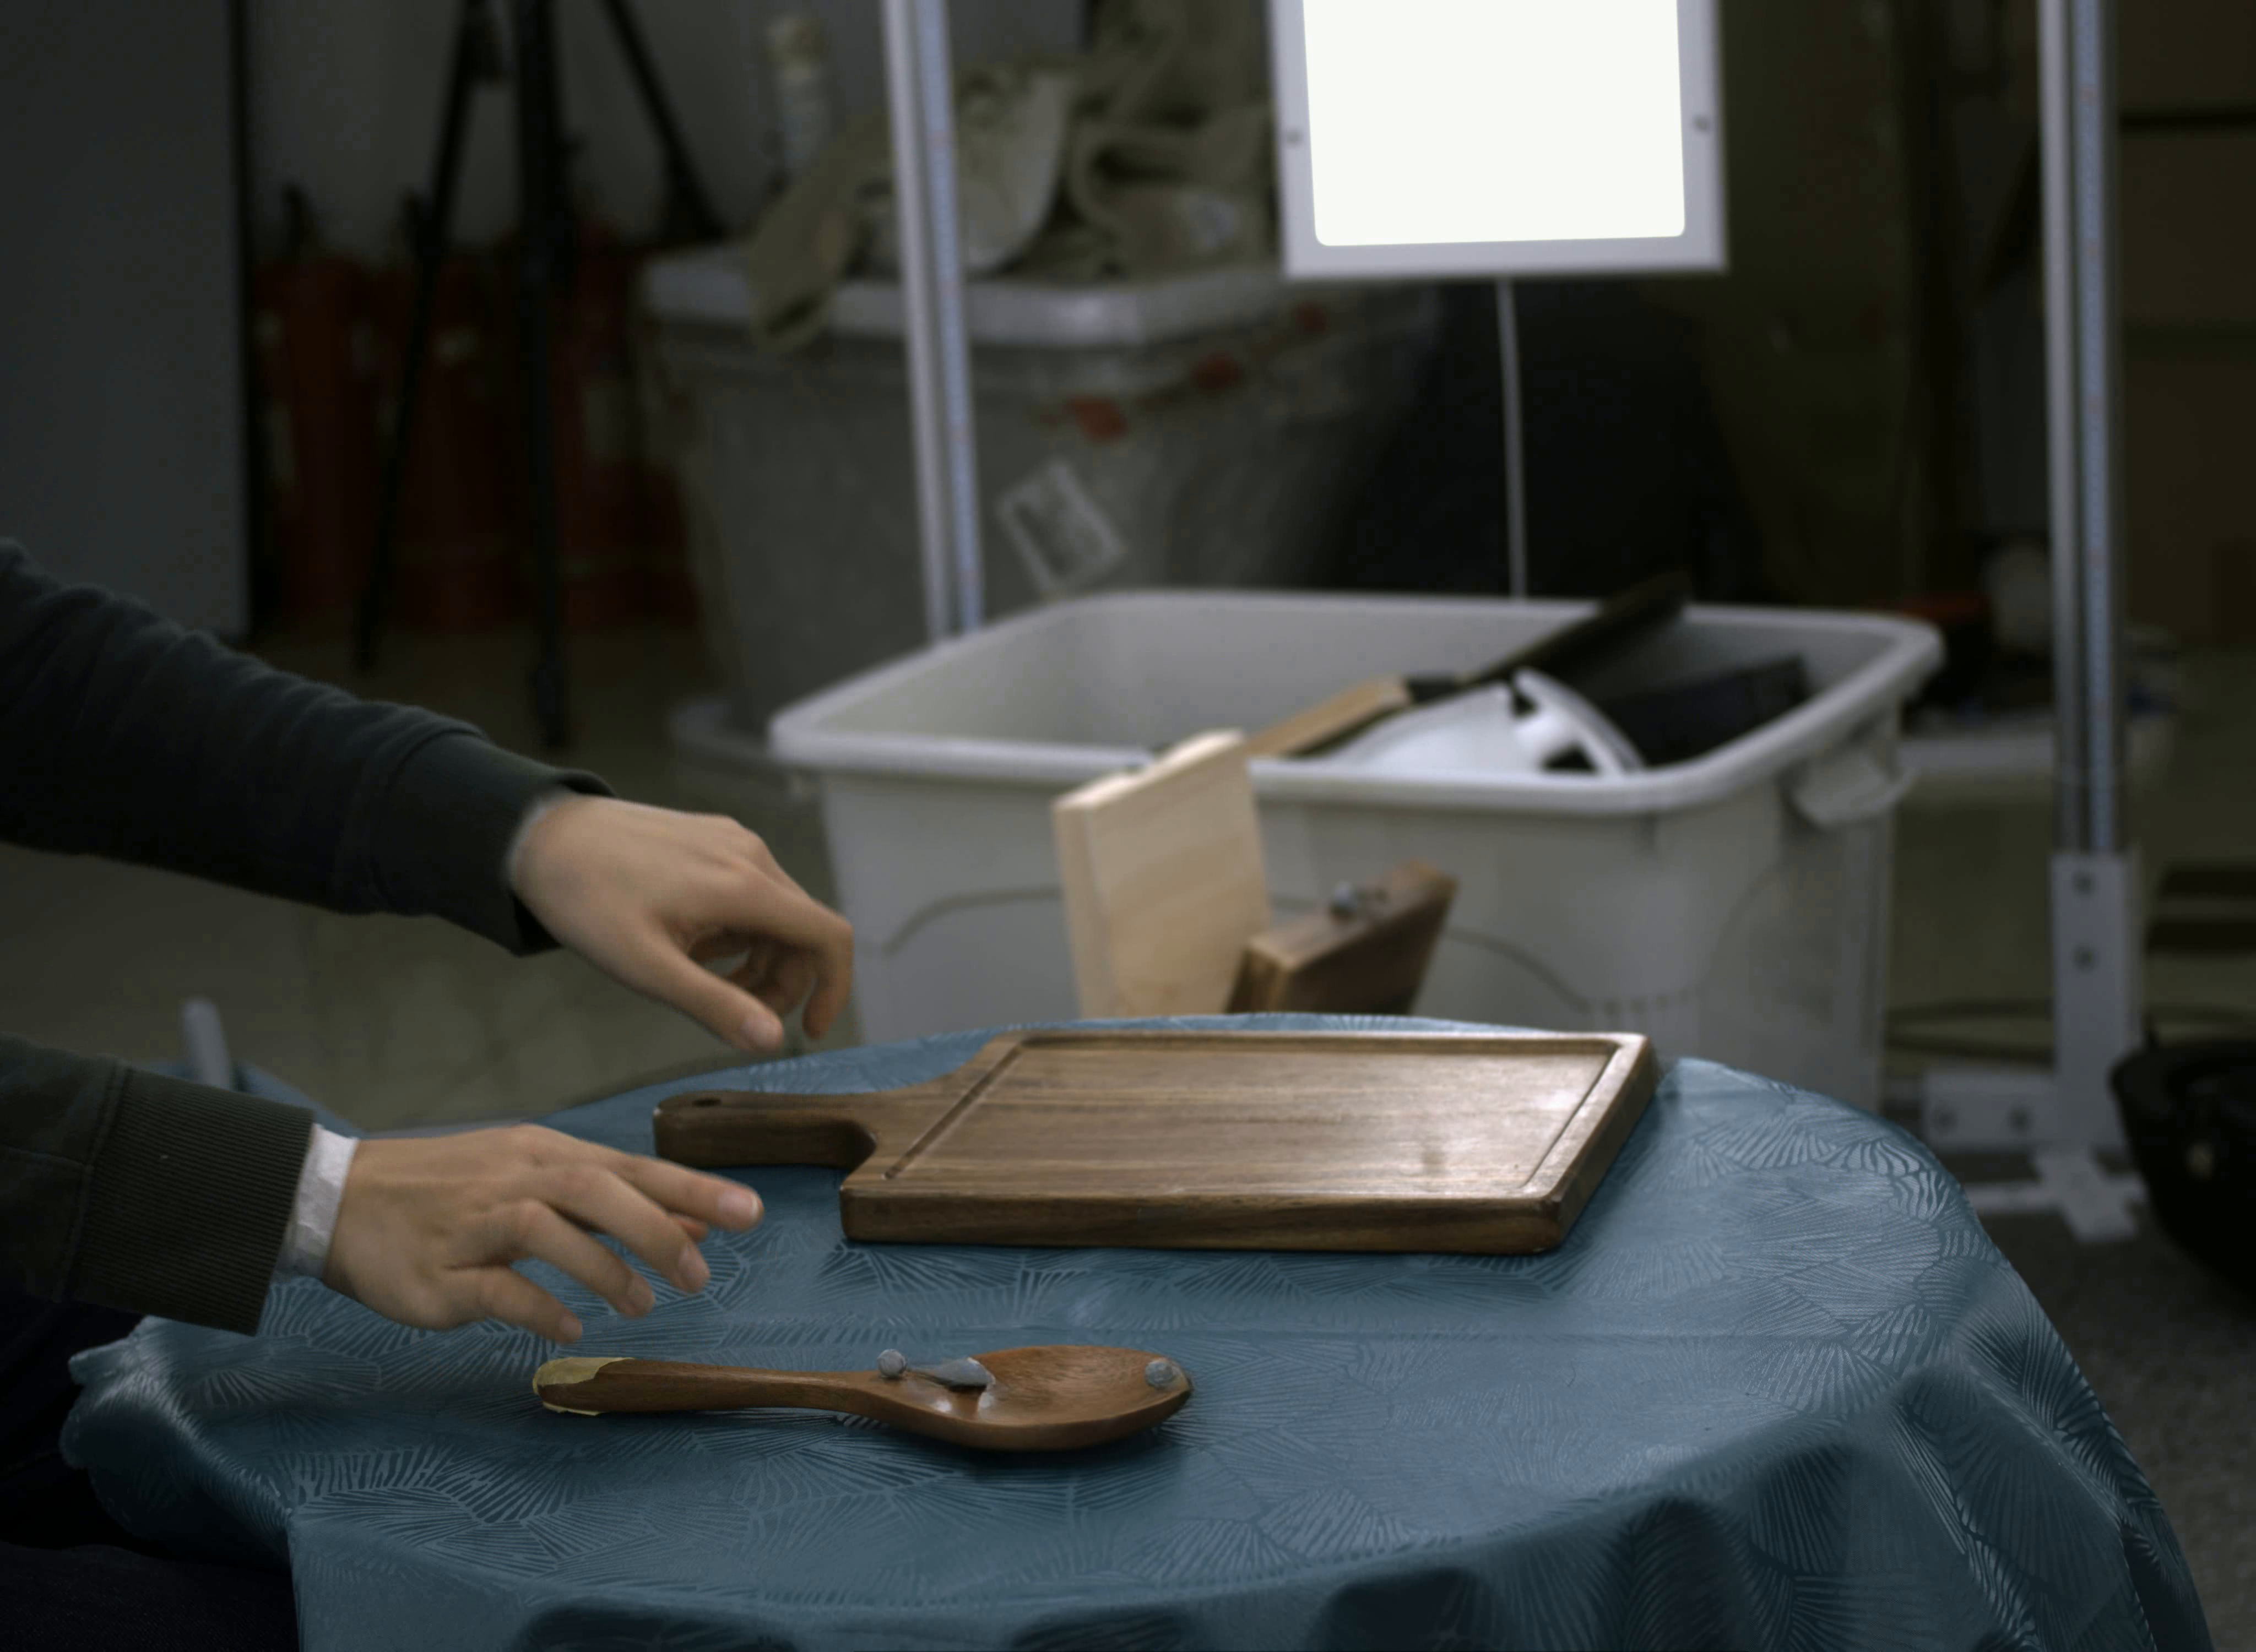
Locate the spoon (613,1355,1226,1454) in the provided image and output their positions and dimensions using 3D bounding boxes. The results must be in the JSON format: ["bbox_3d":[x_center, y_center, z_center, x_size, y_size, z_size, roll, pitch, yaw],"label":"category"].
[{"bbox_3d":[-0.068,0.178,1.703,0.220,0.017,0.074,-1,11,32],"label":"spoon"}]

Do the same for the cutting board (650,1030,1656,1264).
[{"bbox_3d":[-0.001,0.109,1.932,0.356,0.023,0.198,-1,16,18],"label":"cutting board"}]
